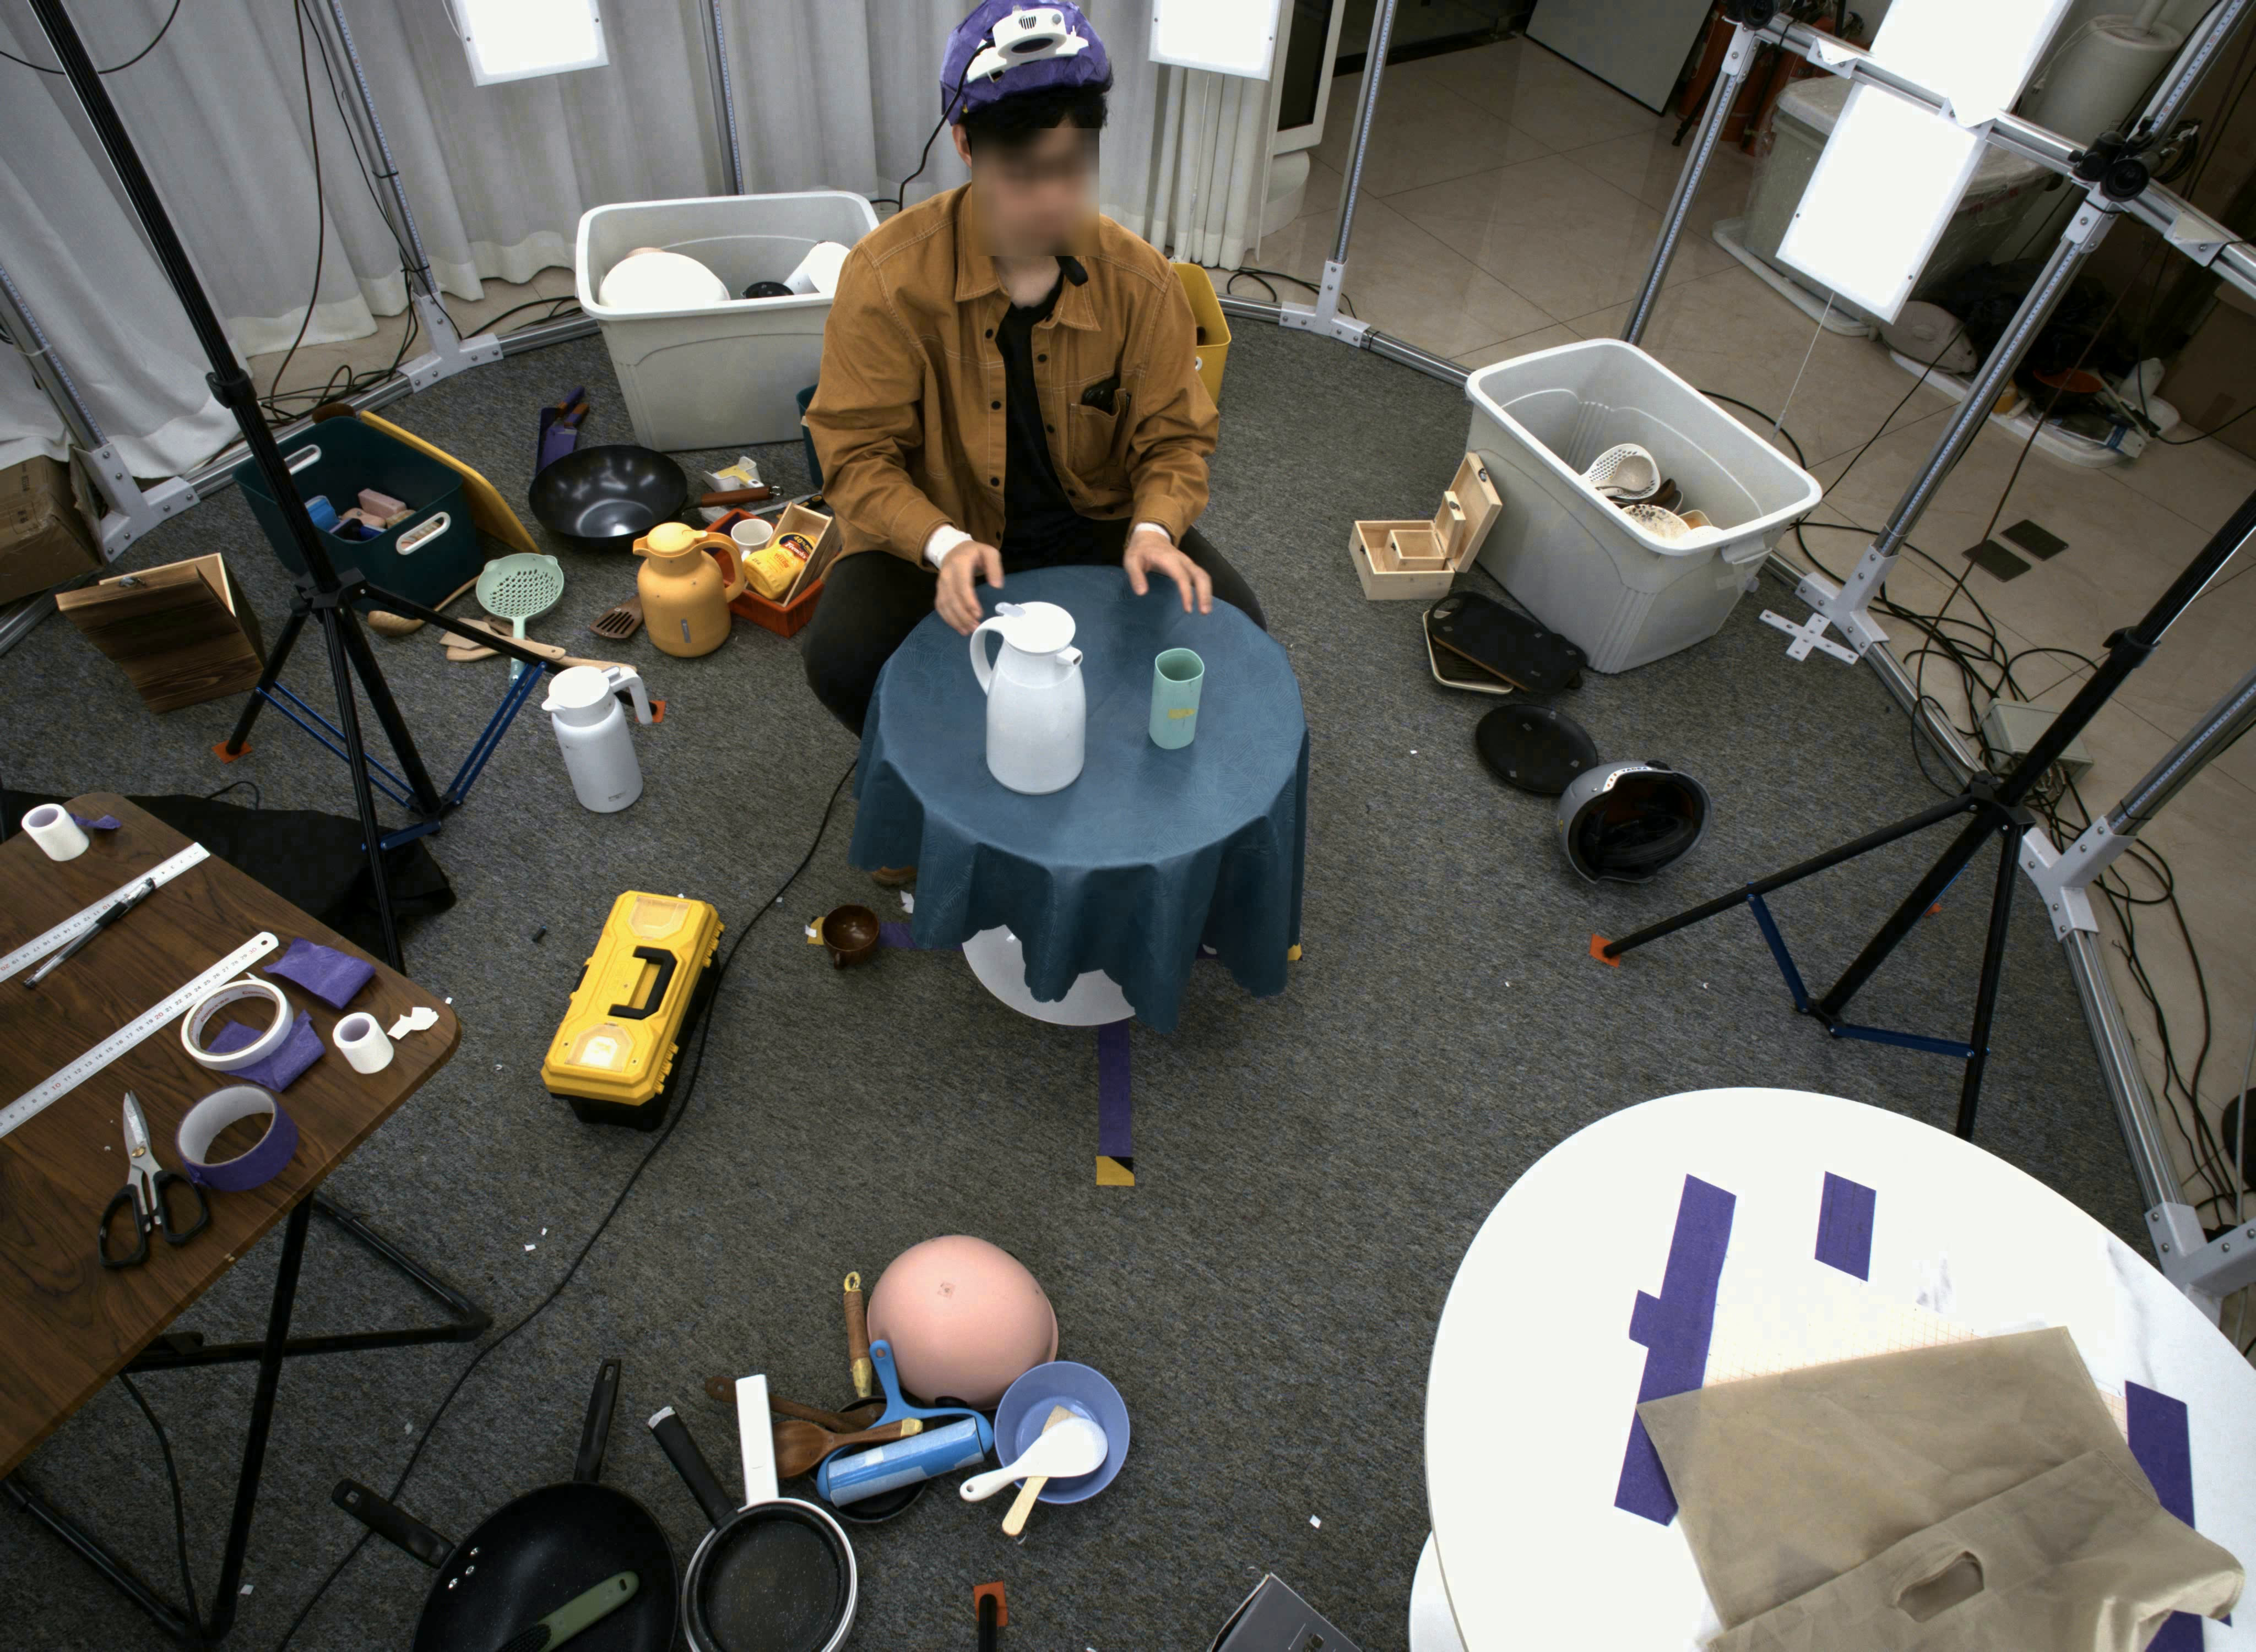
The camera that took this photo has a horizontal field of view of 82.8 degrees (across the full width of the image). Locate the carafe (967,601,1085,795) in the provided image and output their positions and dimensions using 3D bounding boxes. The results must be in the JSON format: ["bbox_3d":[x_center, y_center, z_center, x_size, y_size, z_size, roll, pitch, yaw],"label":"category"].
[{"bbox_3d":[-0.136,-0.177,1.655,0.169,0.242,0.134,29,54,21],"label":"carafe"}]

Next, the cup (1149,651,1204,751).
[{"bbox_3d":[0.064,-0.169,1.740,0.066,0.129,0.068,2,49,-3],"label":"cup"}]
